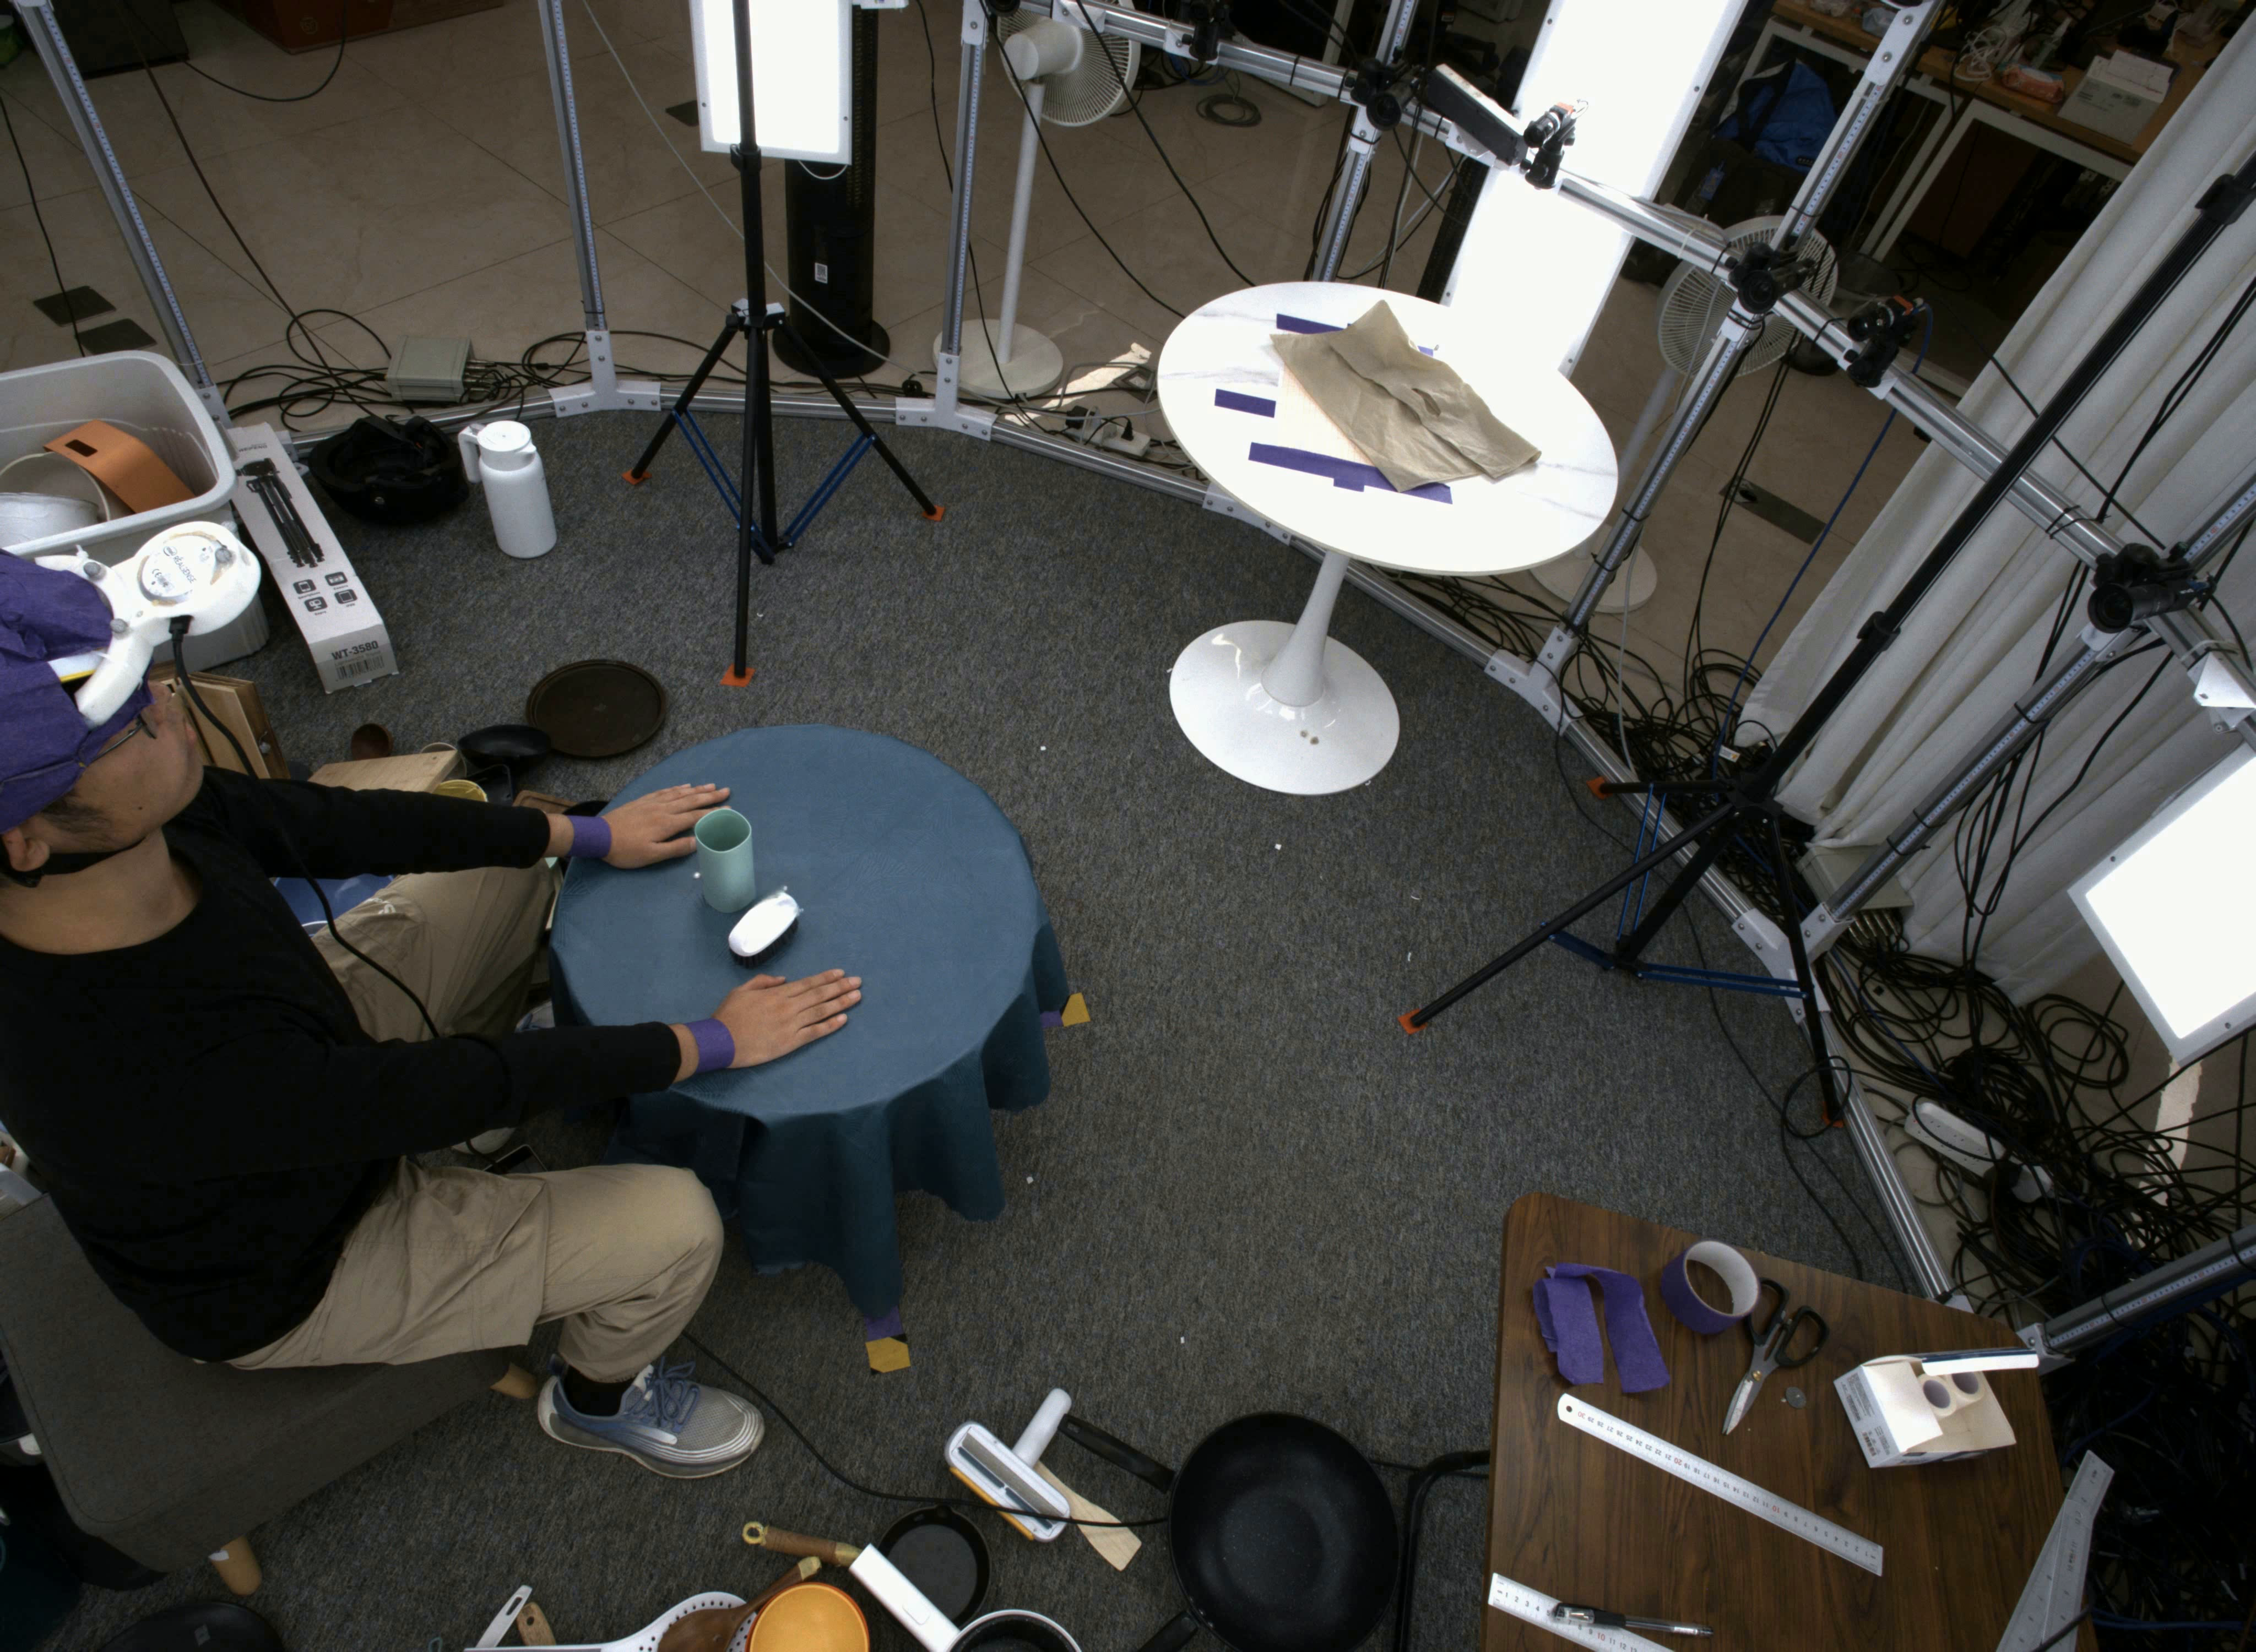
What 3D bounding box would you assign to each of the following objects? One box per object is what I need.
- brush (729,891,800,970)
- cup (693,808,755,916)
[{"bbox_3d":[-0.447,0.118,1.586,0.049,0.074,0.099,32,52,16],"label":"brush"},{"bbox_3d":[-0.497,0.045,1.596,0.066,0.135,0.065,7,51,-7],"label":"cup"}]
